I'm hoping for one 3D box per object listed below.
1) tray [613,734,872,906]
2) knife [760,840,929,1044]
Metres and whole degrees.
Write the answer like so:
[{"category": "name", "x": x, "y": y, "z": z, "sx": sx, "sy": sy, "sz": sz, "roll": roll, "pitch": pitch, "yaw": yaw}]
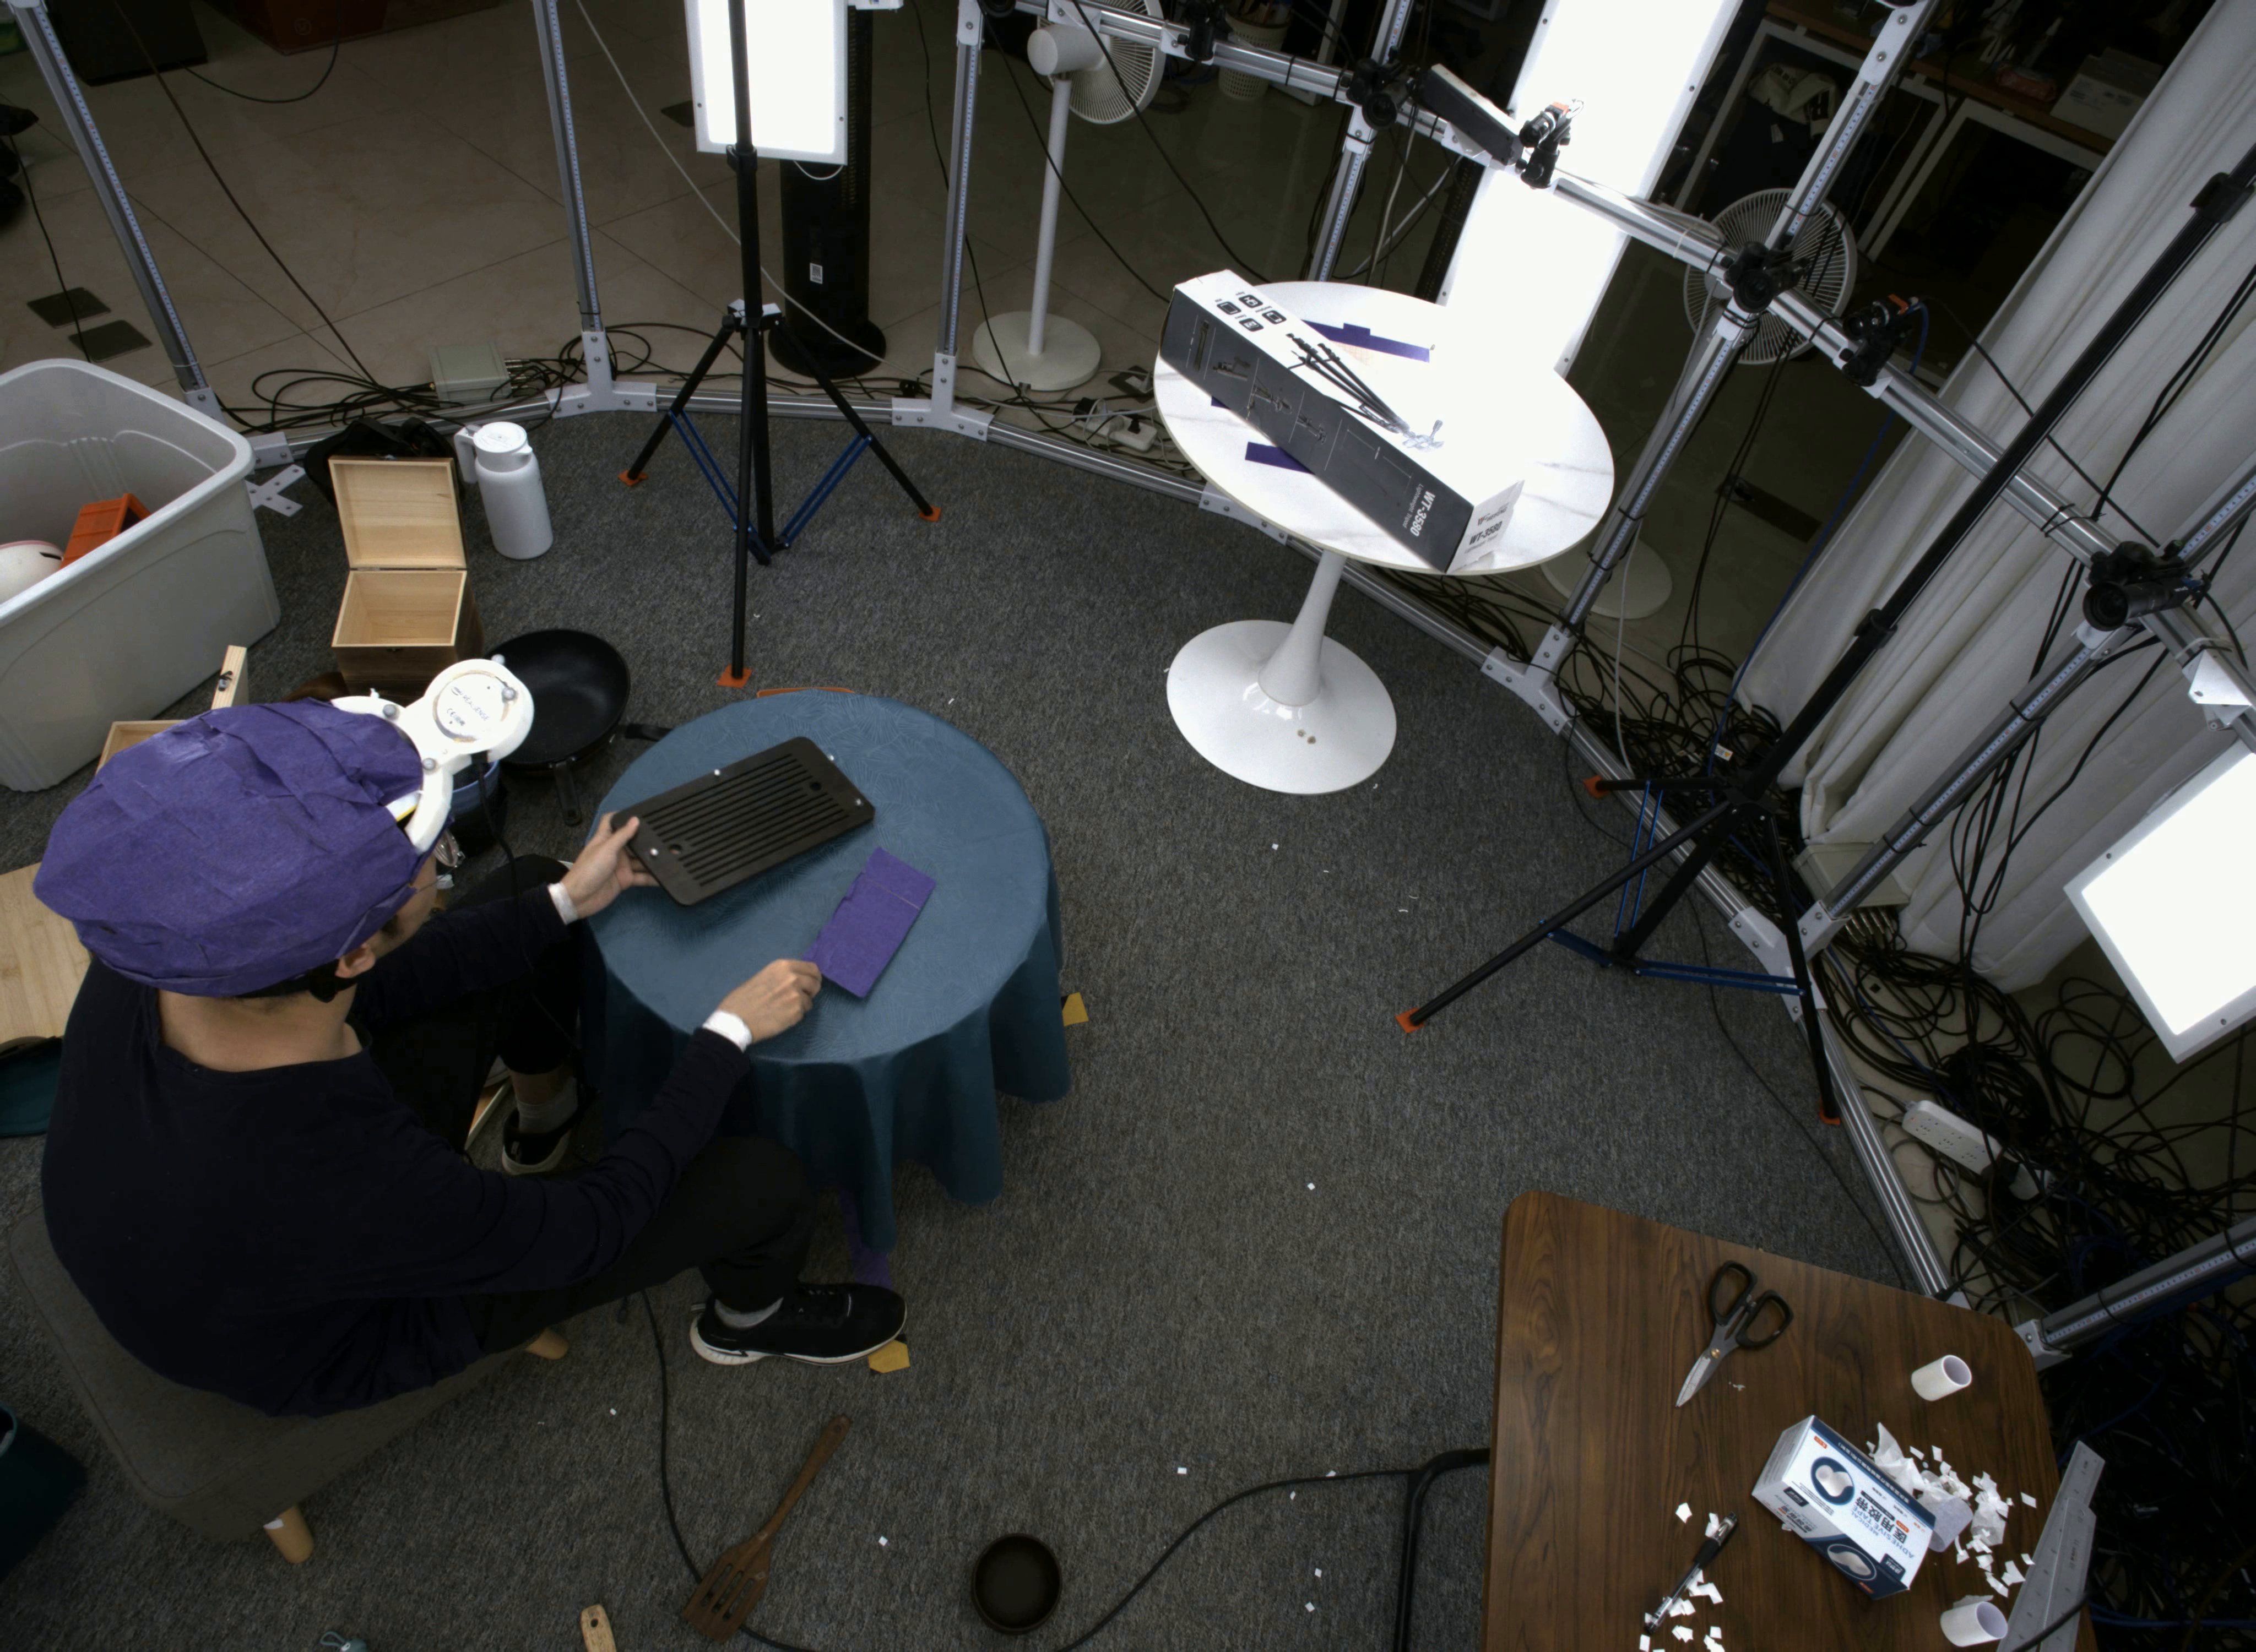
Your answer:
[{"category": "tray", "x": -0.499, "y": -0.013, "z": 1.683, "sx": 0.167, "sy": 0.019, "sz": 0.307, "roll": 45, "pitch": 48, "yaw": 17}, {"category": "knife", "x": -0.340, "y": 0.149, "z": 1.610, "sx": 0.104, "sy": 0.032, "sz": 0.312, "roll": 32, "pitch": 51, "yaw": -9}]
